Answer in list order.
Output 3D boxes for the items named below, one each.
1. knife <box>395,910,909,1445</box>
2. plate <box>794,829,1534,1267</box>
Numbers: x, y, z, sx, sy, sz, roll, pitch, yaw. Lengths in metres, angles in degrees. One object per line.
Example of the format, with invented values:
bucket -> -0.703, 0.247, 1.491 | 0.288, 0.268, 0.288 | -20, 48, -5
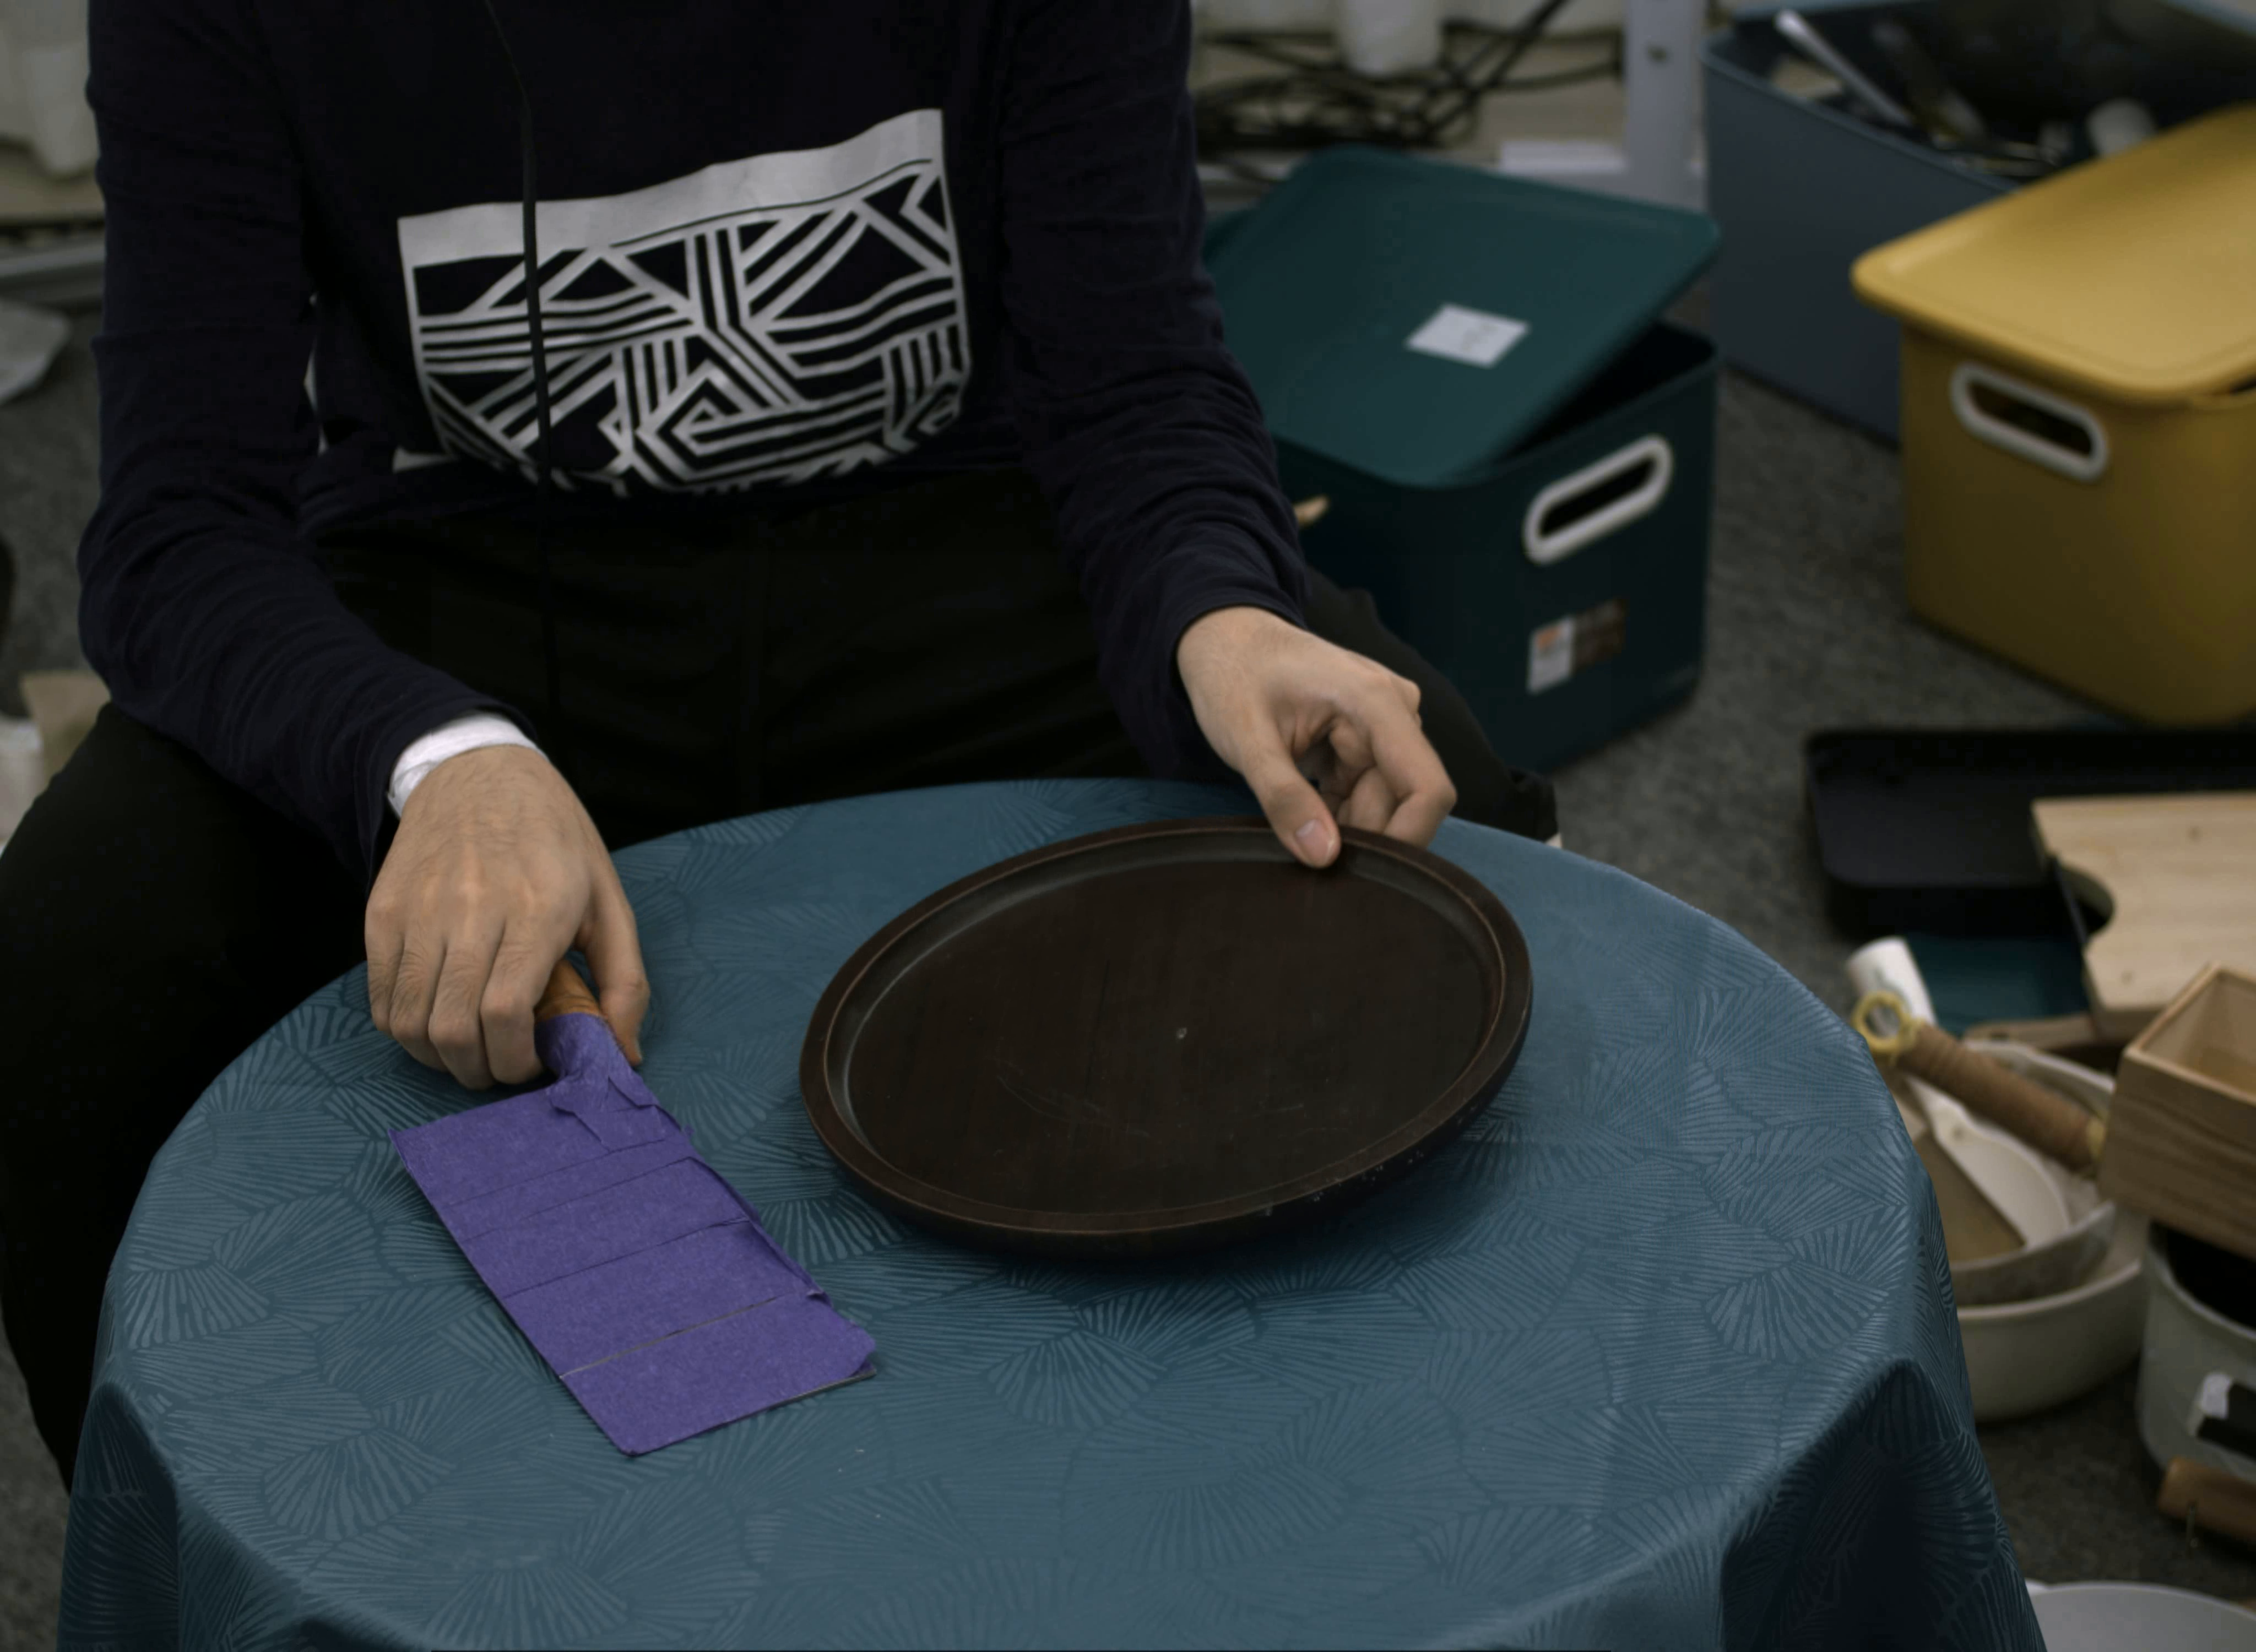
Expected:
knife -> -0.186, 0.113, 1.867 | 0.104, 0.032, 0.317 | -15, 30, -24
plate -> 0.012, 0.073, 1.905 | 0.253, 0.029, 0.259 | -6, 31, 4
